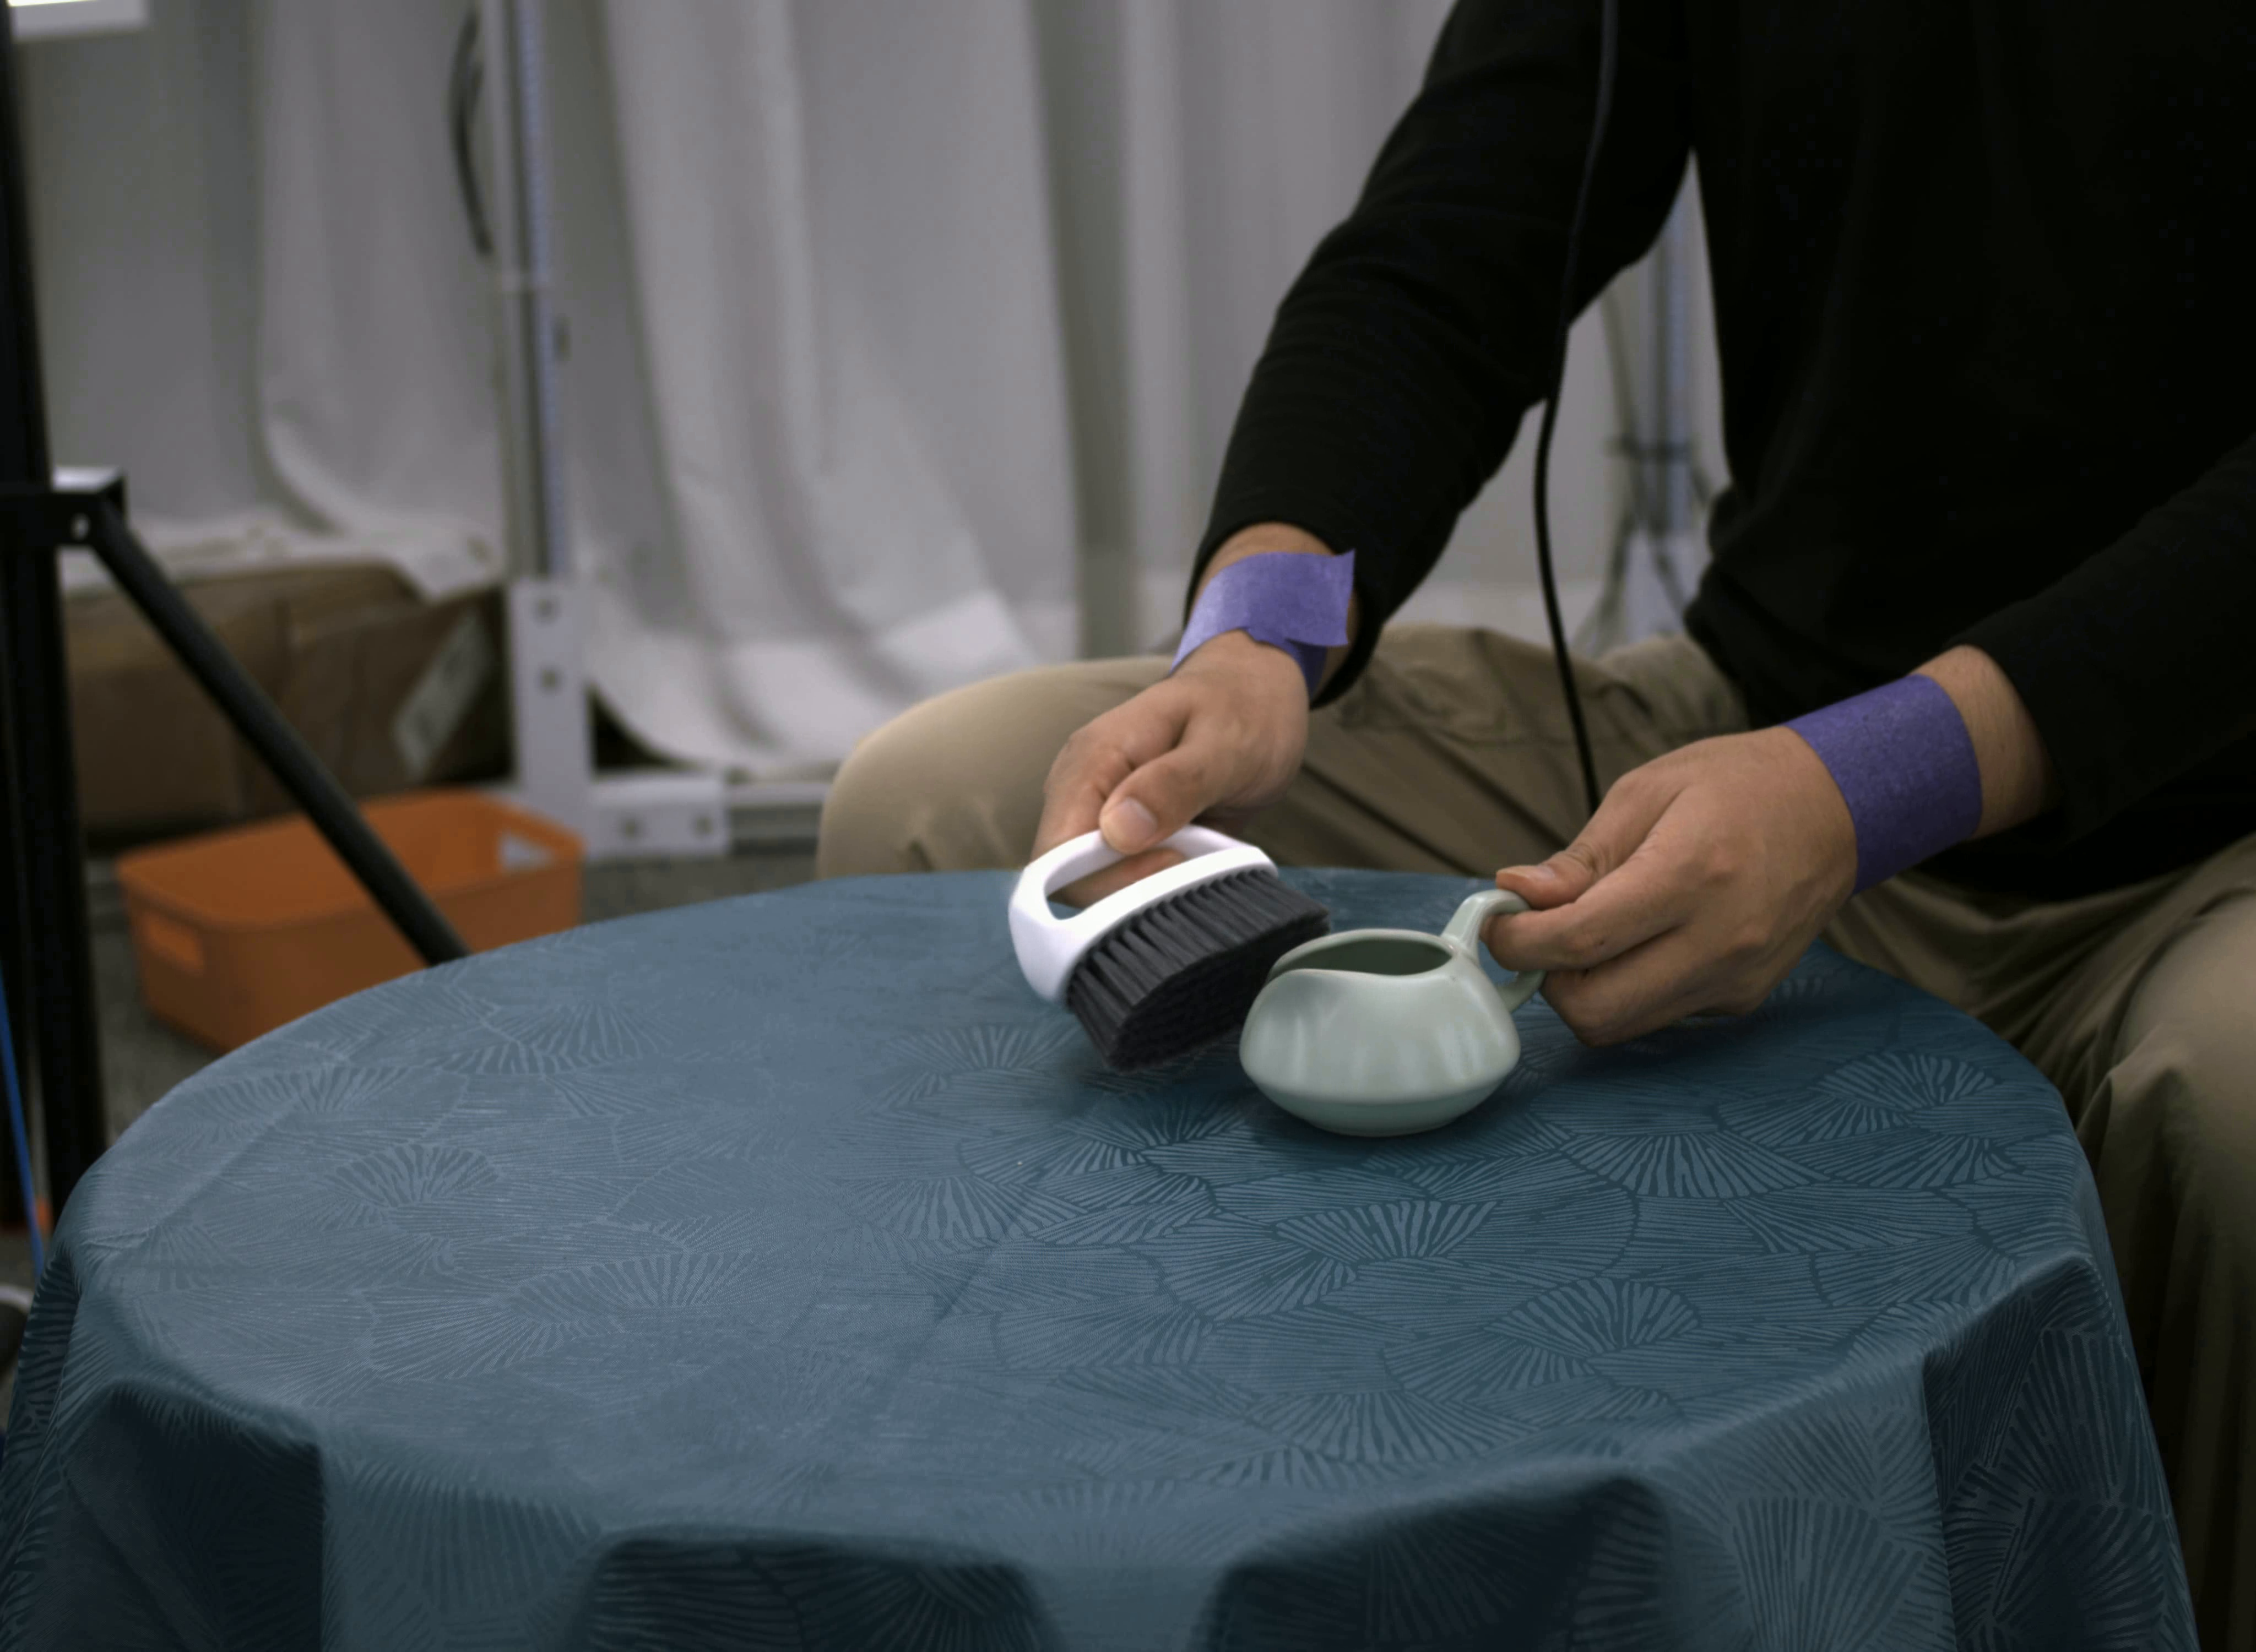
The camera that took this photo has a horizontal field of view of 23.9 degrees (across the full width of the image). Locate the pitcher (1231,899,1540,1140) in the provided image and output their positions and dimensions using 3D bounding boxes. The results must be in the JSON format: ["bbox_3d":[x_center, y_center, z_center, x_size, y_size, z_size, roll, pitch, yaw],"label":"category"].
[{"bbox_3d":[0.084,0.058,1.618,0.105,0.060,0.088,-12,20,-37],"label":"pitcher"}]

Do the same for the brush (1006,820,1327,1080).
[{"bbox_3d":[0.006,0.031,1.675,0.097,0.050,0.074,-22,55,-39],"label":"brush"}]
